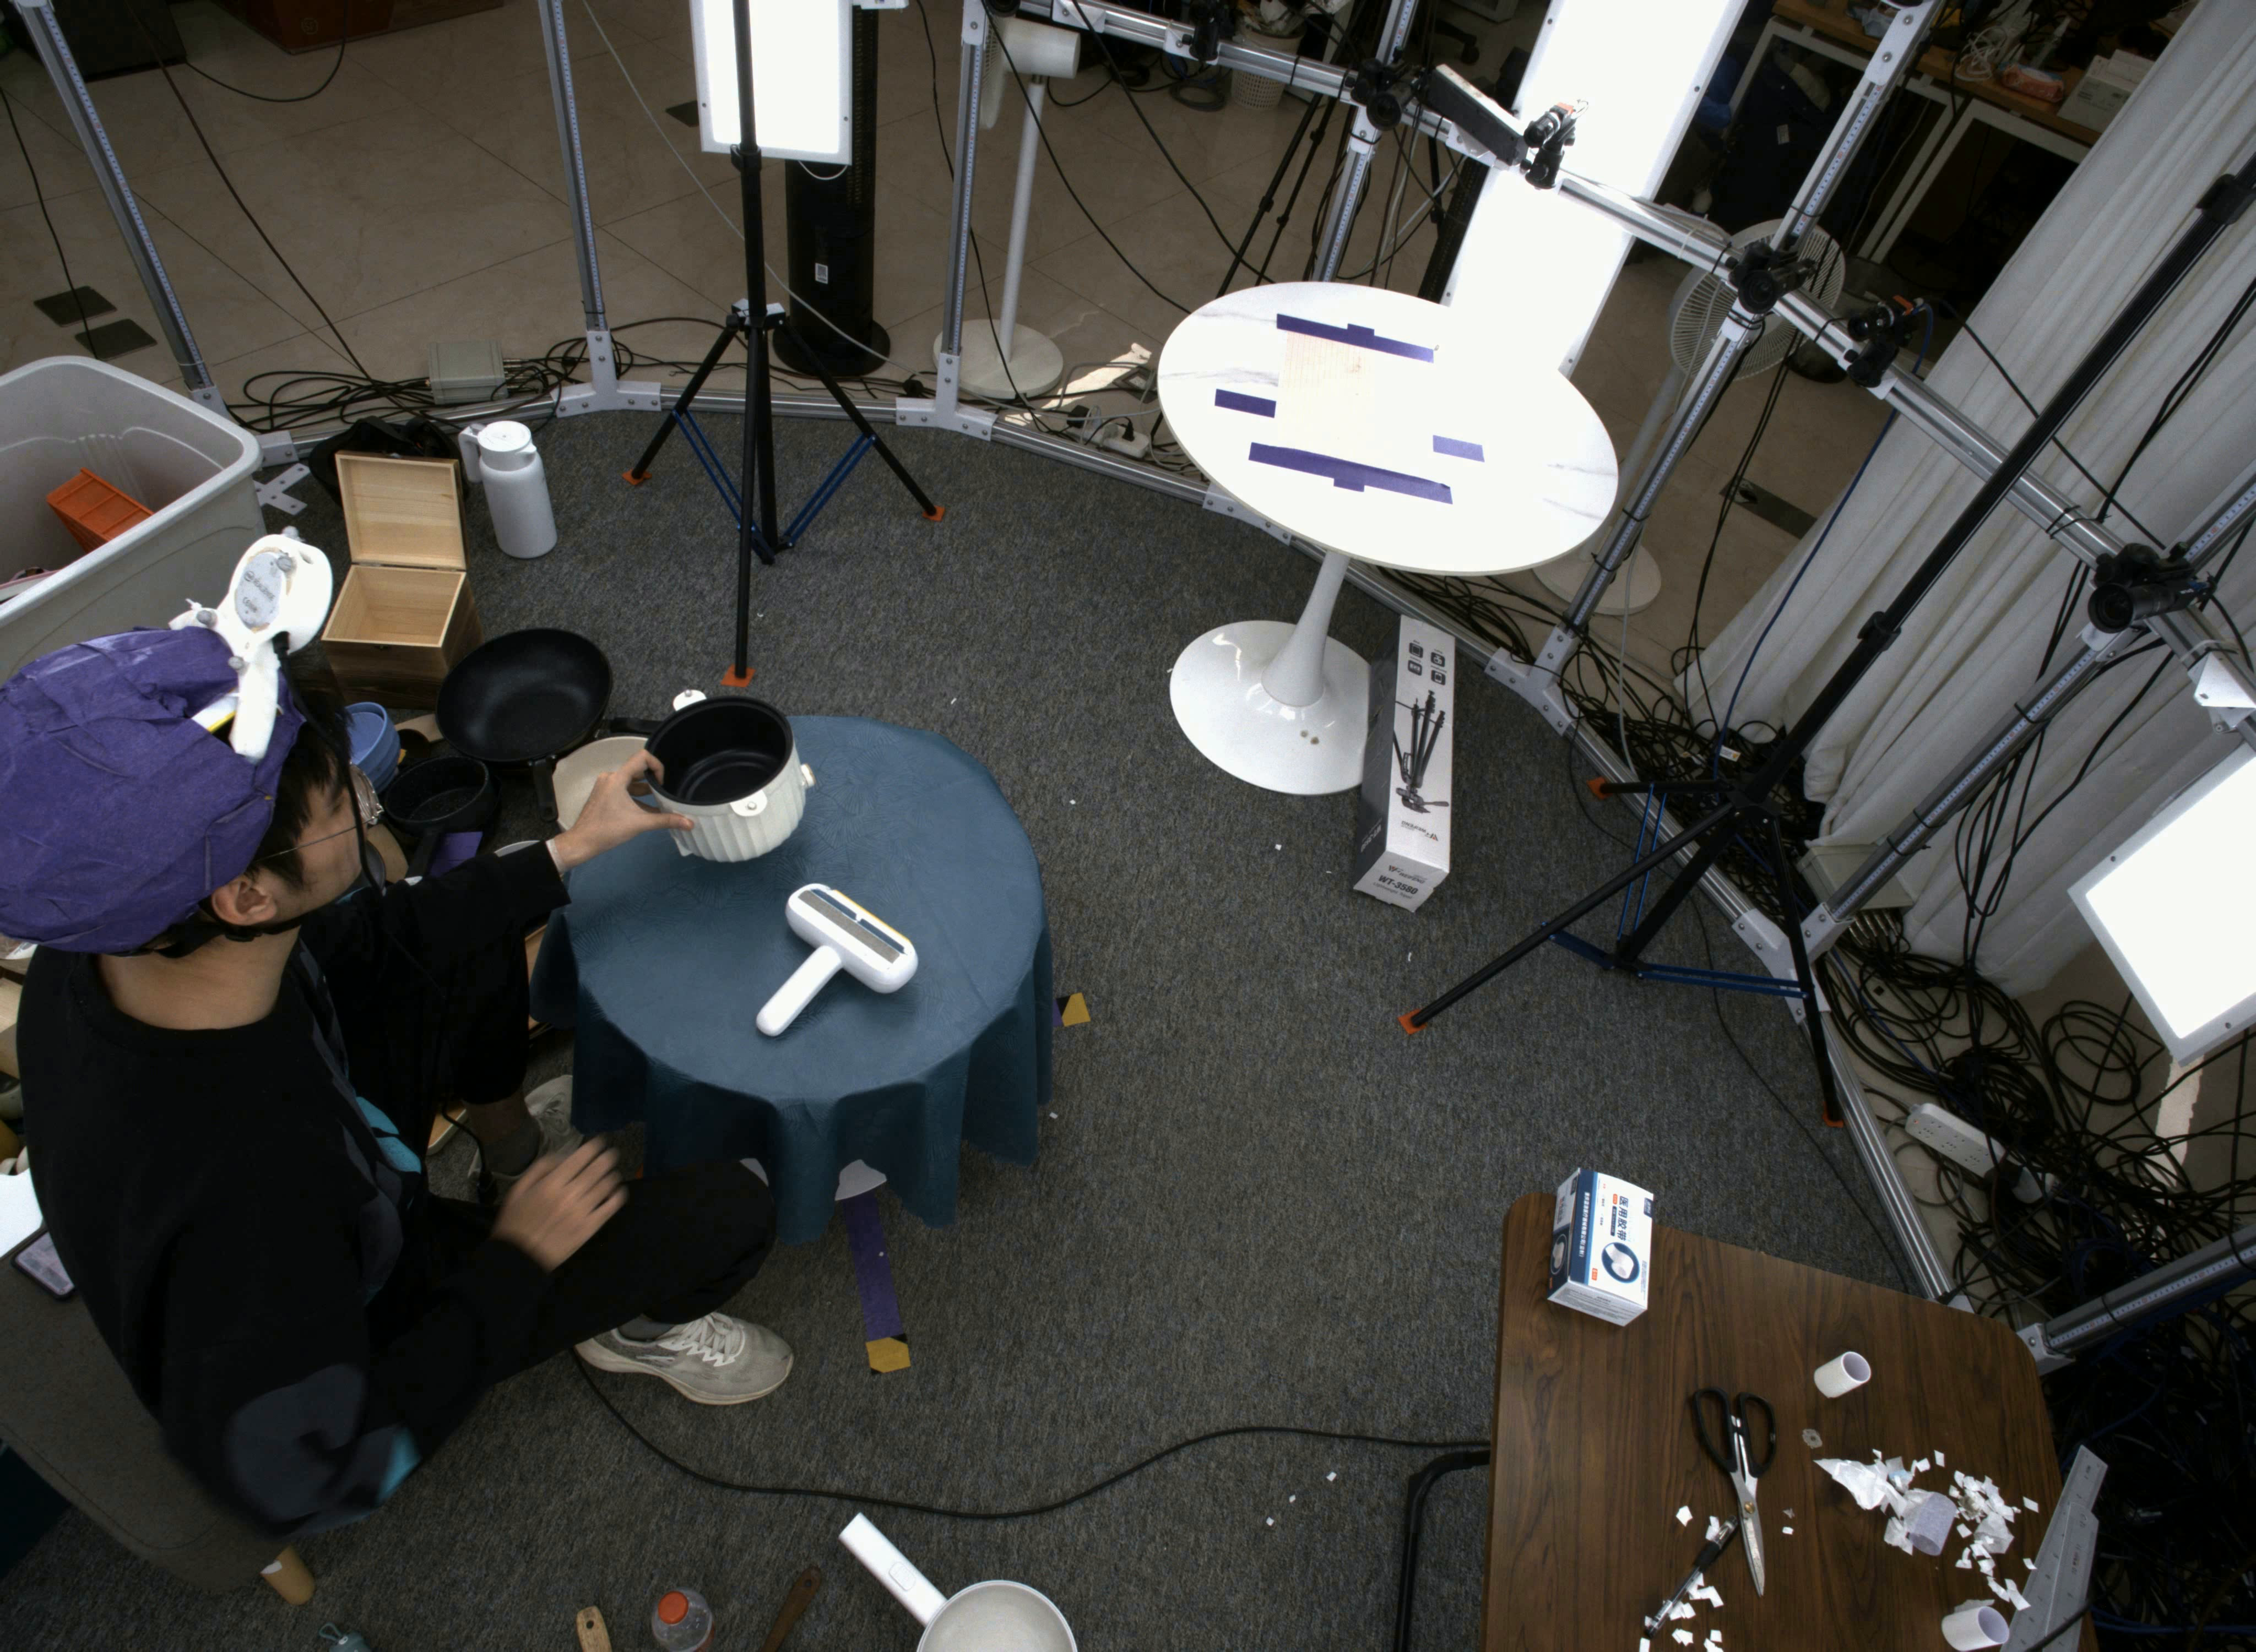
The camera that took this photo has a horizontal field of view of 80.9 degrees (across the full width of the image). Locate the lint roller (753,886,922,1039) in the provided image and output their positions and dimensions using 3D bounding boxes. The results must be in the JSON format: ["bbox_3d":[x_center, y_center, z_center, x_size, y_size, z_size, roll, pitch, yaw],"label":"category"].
[{"bbox_3d":[-0.373,0.175,1.570,0.188,0.076,0.192,36,55,20],"label":"lint roller"}]

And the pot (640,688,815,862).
[{"bbox_3d":[-0.490,-0.057,1.600,0.190,0.147,0.233,-29,58,-19],"label":"pot"}]
